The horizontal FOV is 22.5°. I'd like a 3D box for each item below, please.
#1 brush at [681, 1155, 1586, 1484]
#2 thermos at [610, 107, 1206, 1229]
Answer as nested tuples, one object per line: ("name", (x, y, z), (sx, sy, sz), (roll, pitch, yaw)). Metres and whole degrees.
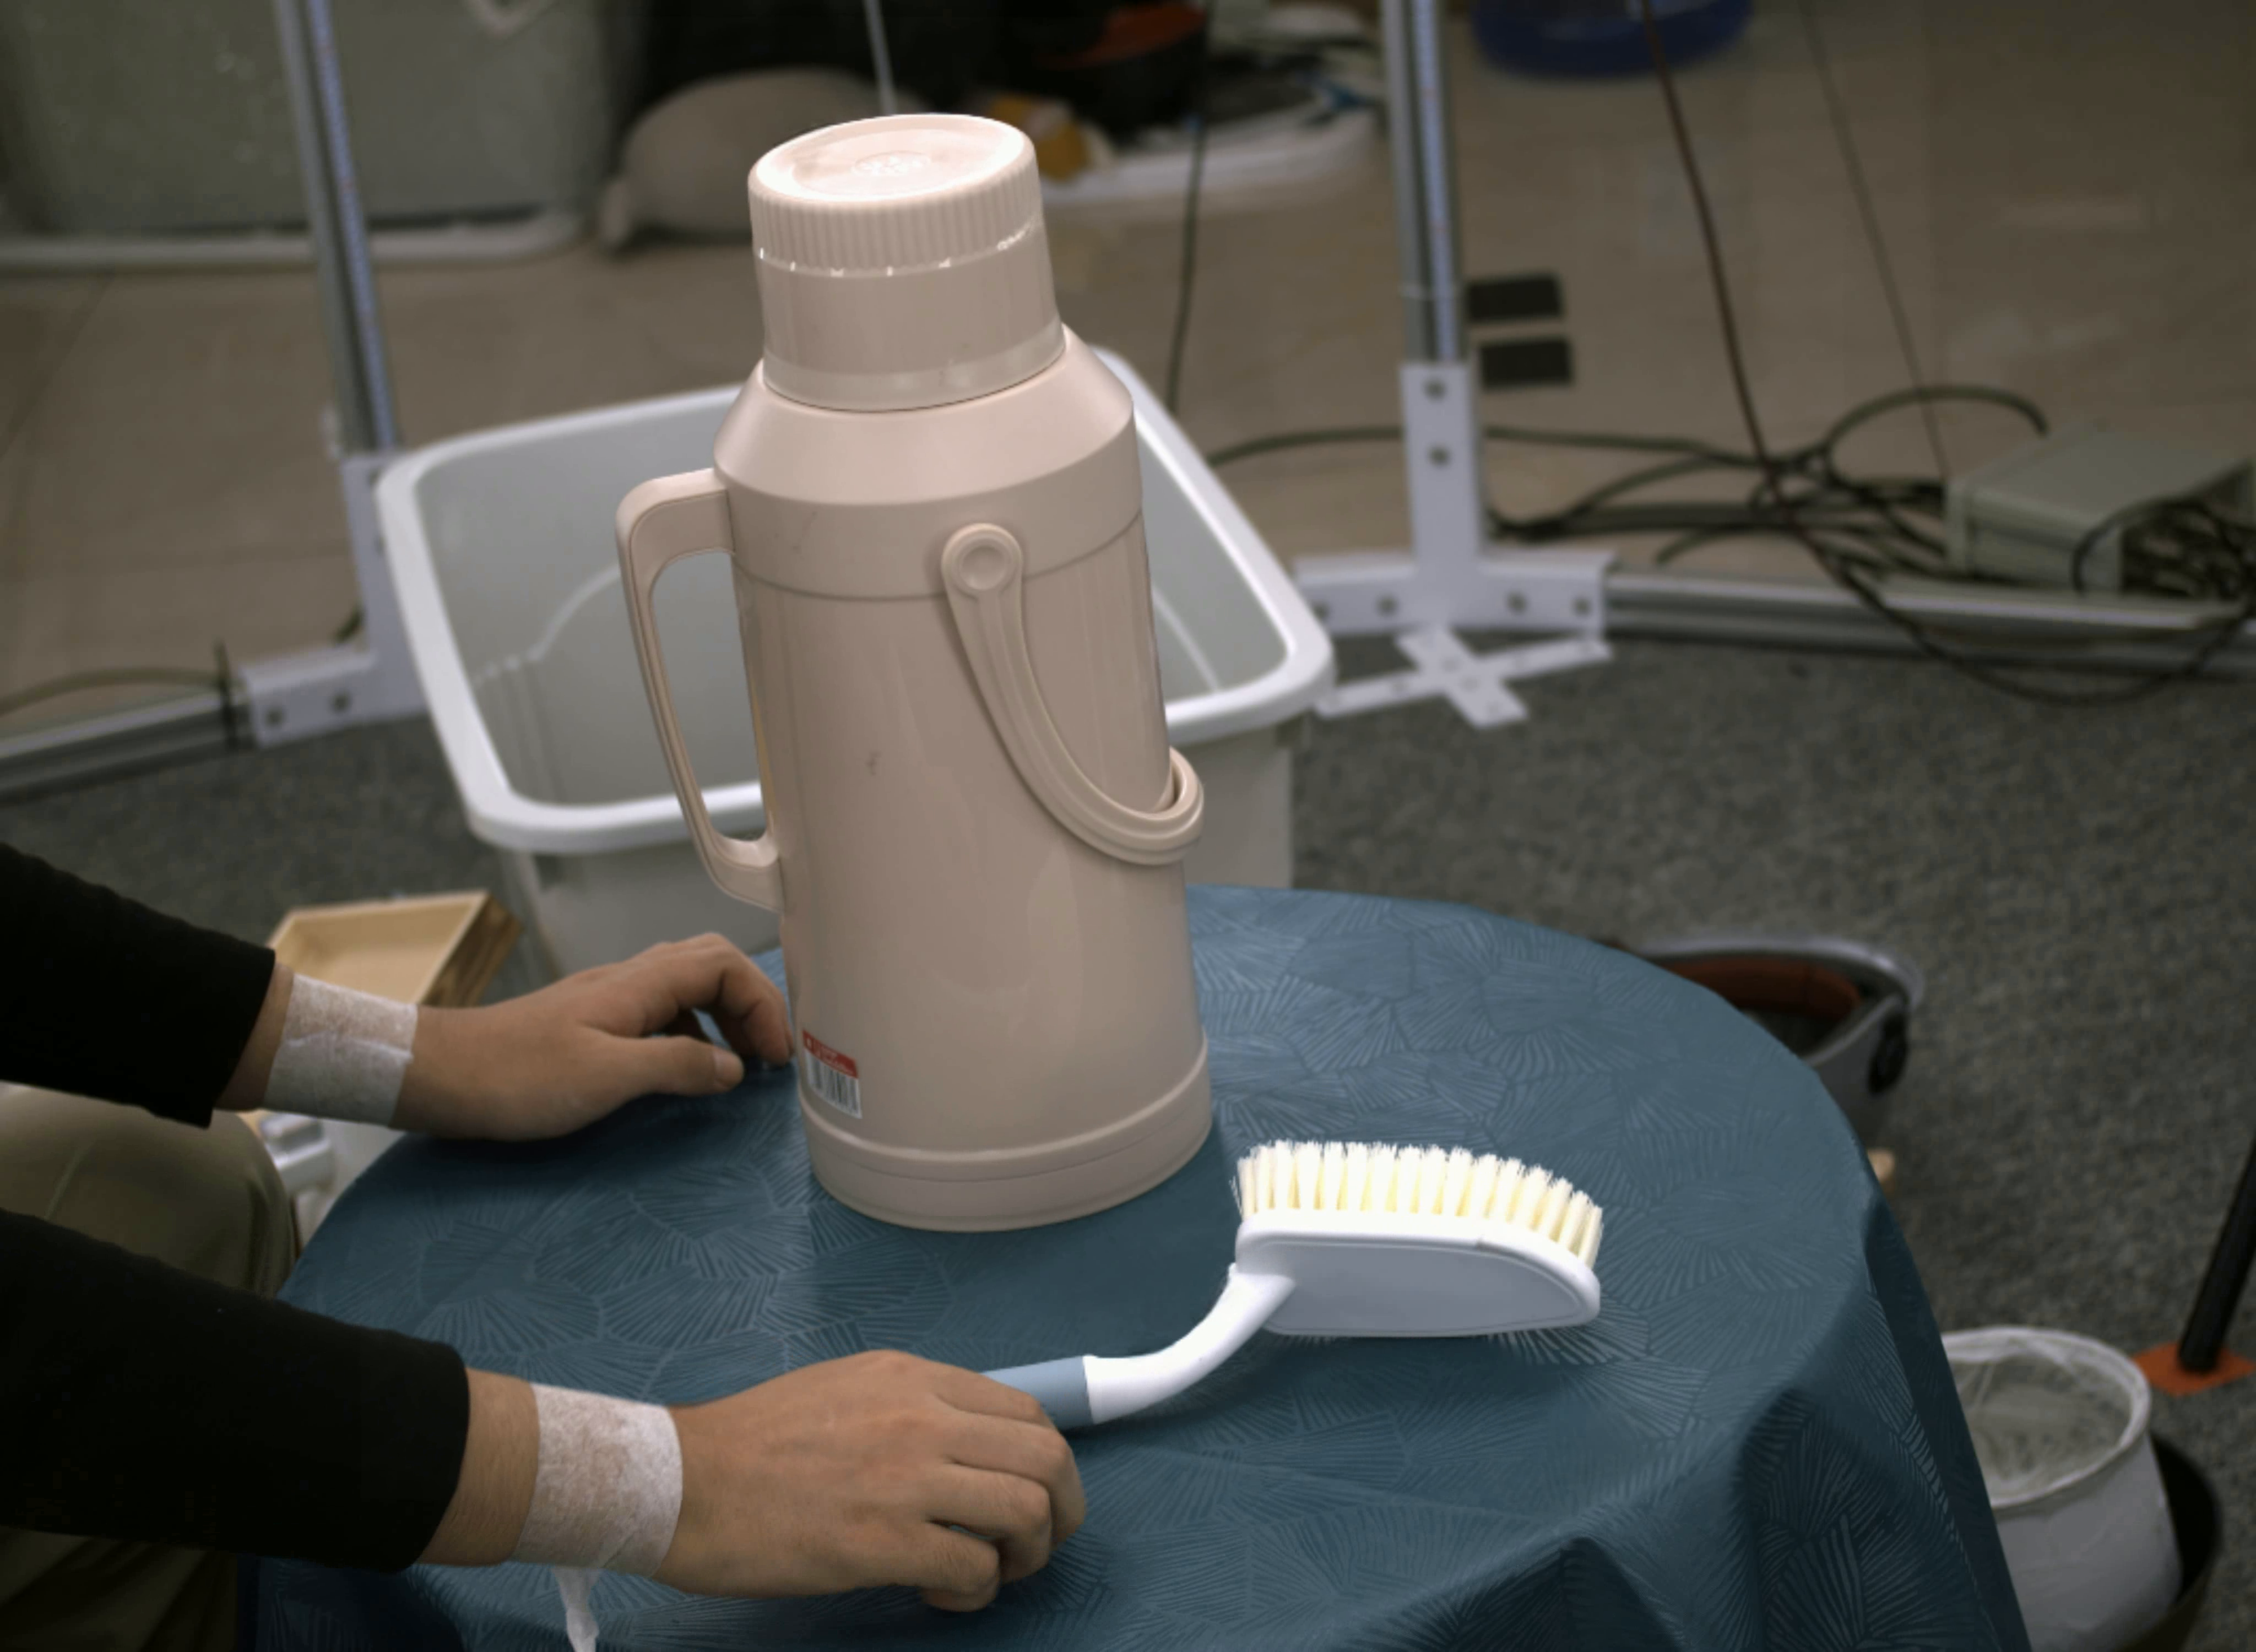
("brush", (0.000, 0.164, 2.008), (0.325, 0.084, 0.084), (-8, 13, 0))
("thermos", (-0.081, -0.058, 2.113), (0.206, 0.413, 0.173), (-12, 28, -11))
